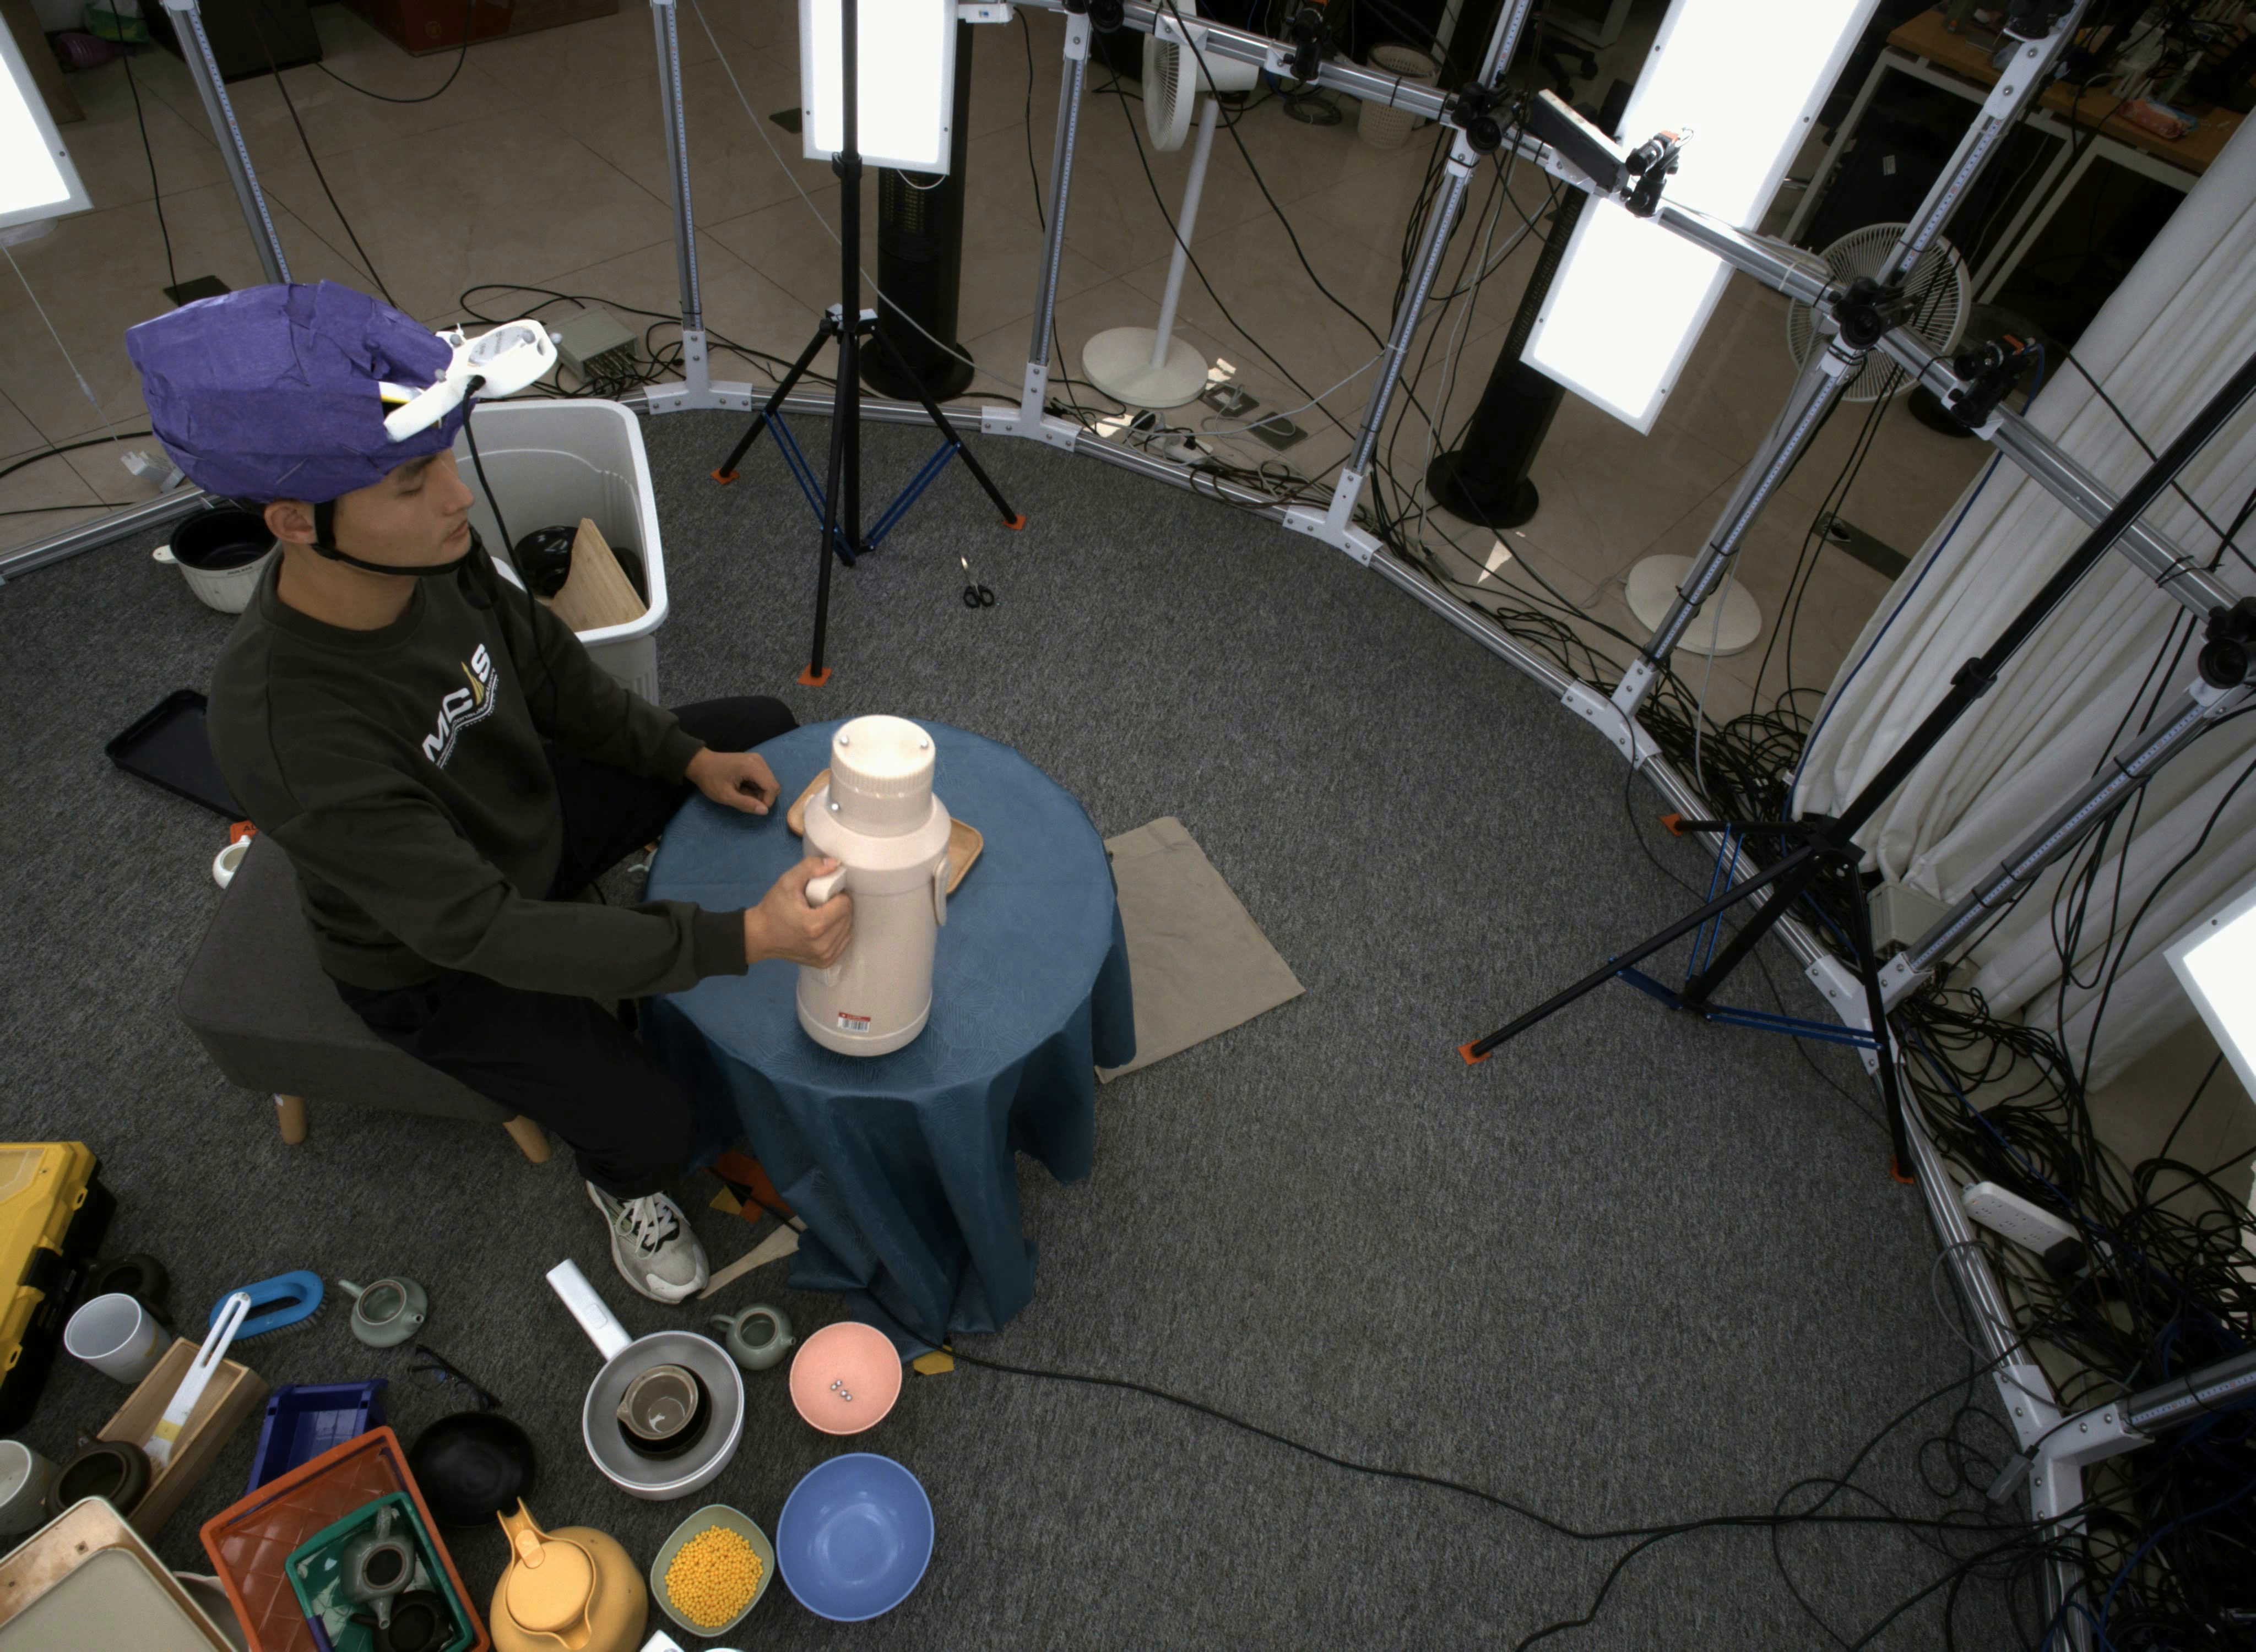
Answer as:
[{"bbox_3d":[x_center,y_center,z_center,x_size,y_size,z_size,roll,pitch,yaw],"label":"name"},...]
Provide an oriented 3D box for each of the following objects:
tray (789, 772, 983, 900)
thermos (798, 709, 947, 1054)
[{"bbox_3d":[-0.323,0.007,1.744,0.247,0.023,0.130,25,50,7],"label":"tray"},{"bbox_3d":[-0.295,0.071,1.440,0.172,0.416,0.206,24,42,11],"label":"thermos"}]
